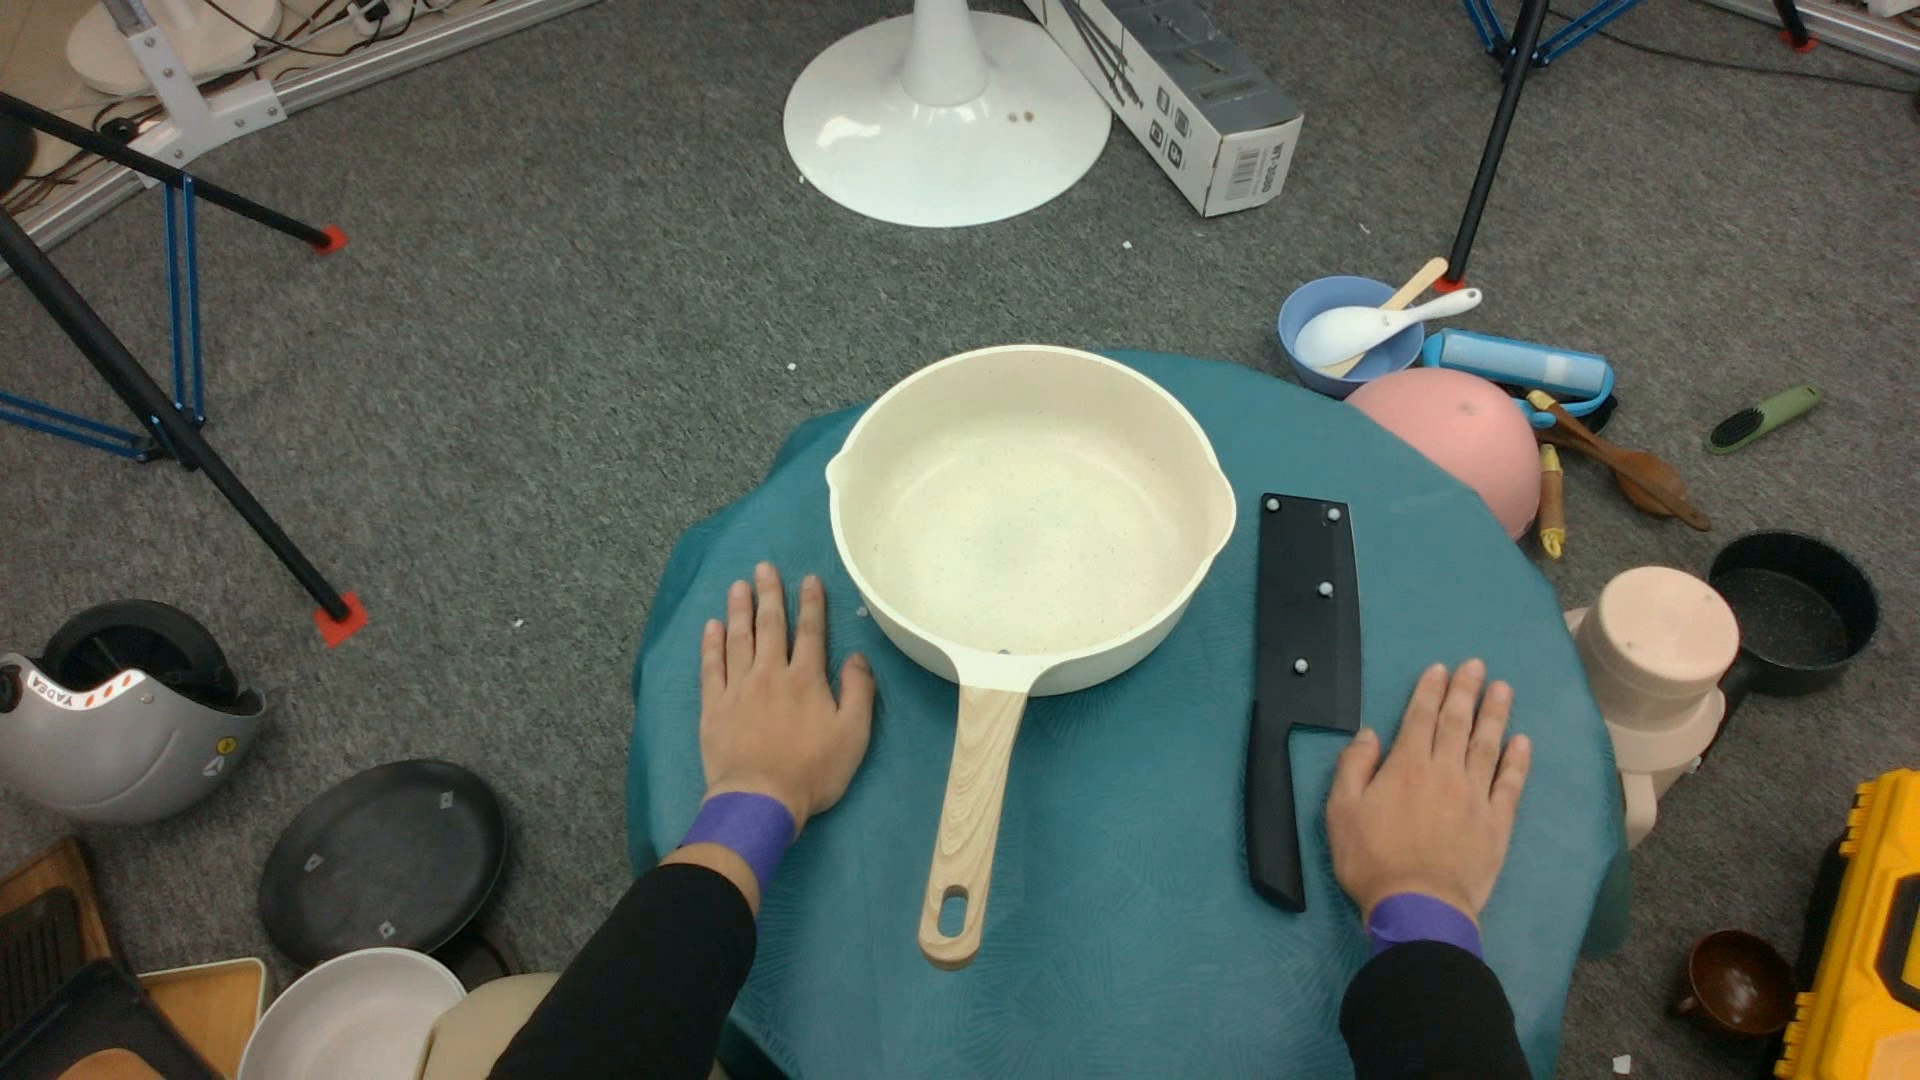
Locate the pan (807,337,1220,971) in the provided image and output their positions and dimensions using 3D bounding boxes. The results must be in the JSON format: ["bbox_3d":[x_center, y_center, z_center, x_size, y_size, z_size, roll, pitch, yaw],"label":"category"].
[{"bbox_3d":[0.020,0.058,0.846,0.263,0.101,0.437,6,56,4],"label":"pan"}]

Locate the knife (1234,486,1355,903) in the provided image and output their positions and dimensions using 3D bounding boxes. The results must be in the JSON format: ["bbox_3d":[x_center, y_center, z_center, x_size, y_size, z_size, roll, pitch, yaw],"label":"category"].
[{"bbox_3d":[0.211,0.085,0.874,0.081,0.021,0.304,11,54,7],"label":"knife"}]
